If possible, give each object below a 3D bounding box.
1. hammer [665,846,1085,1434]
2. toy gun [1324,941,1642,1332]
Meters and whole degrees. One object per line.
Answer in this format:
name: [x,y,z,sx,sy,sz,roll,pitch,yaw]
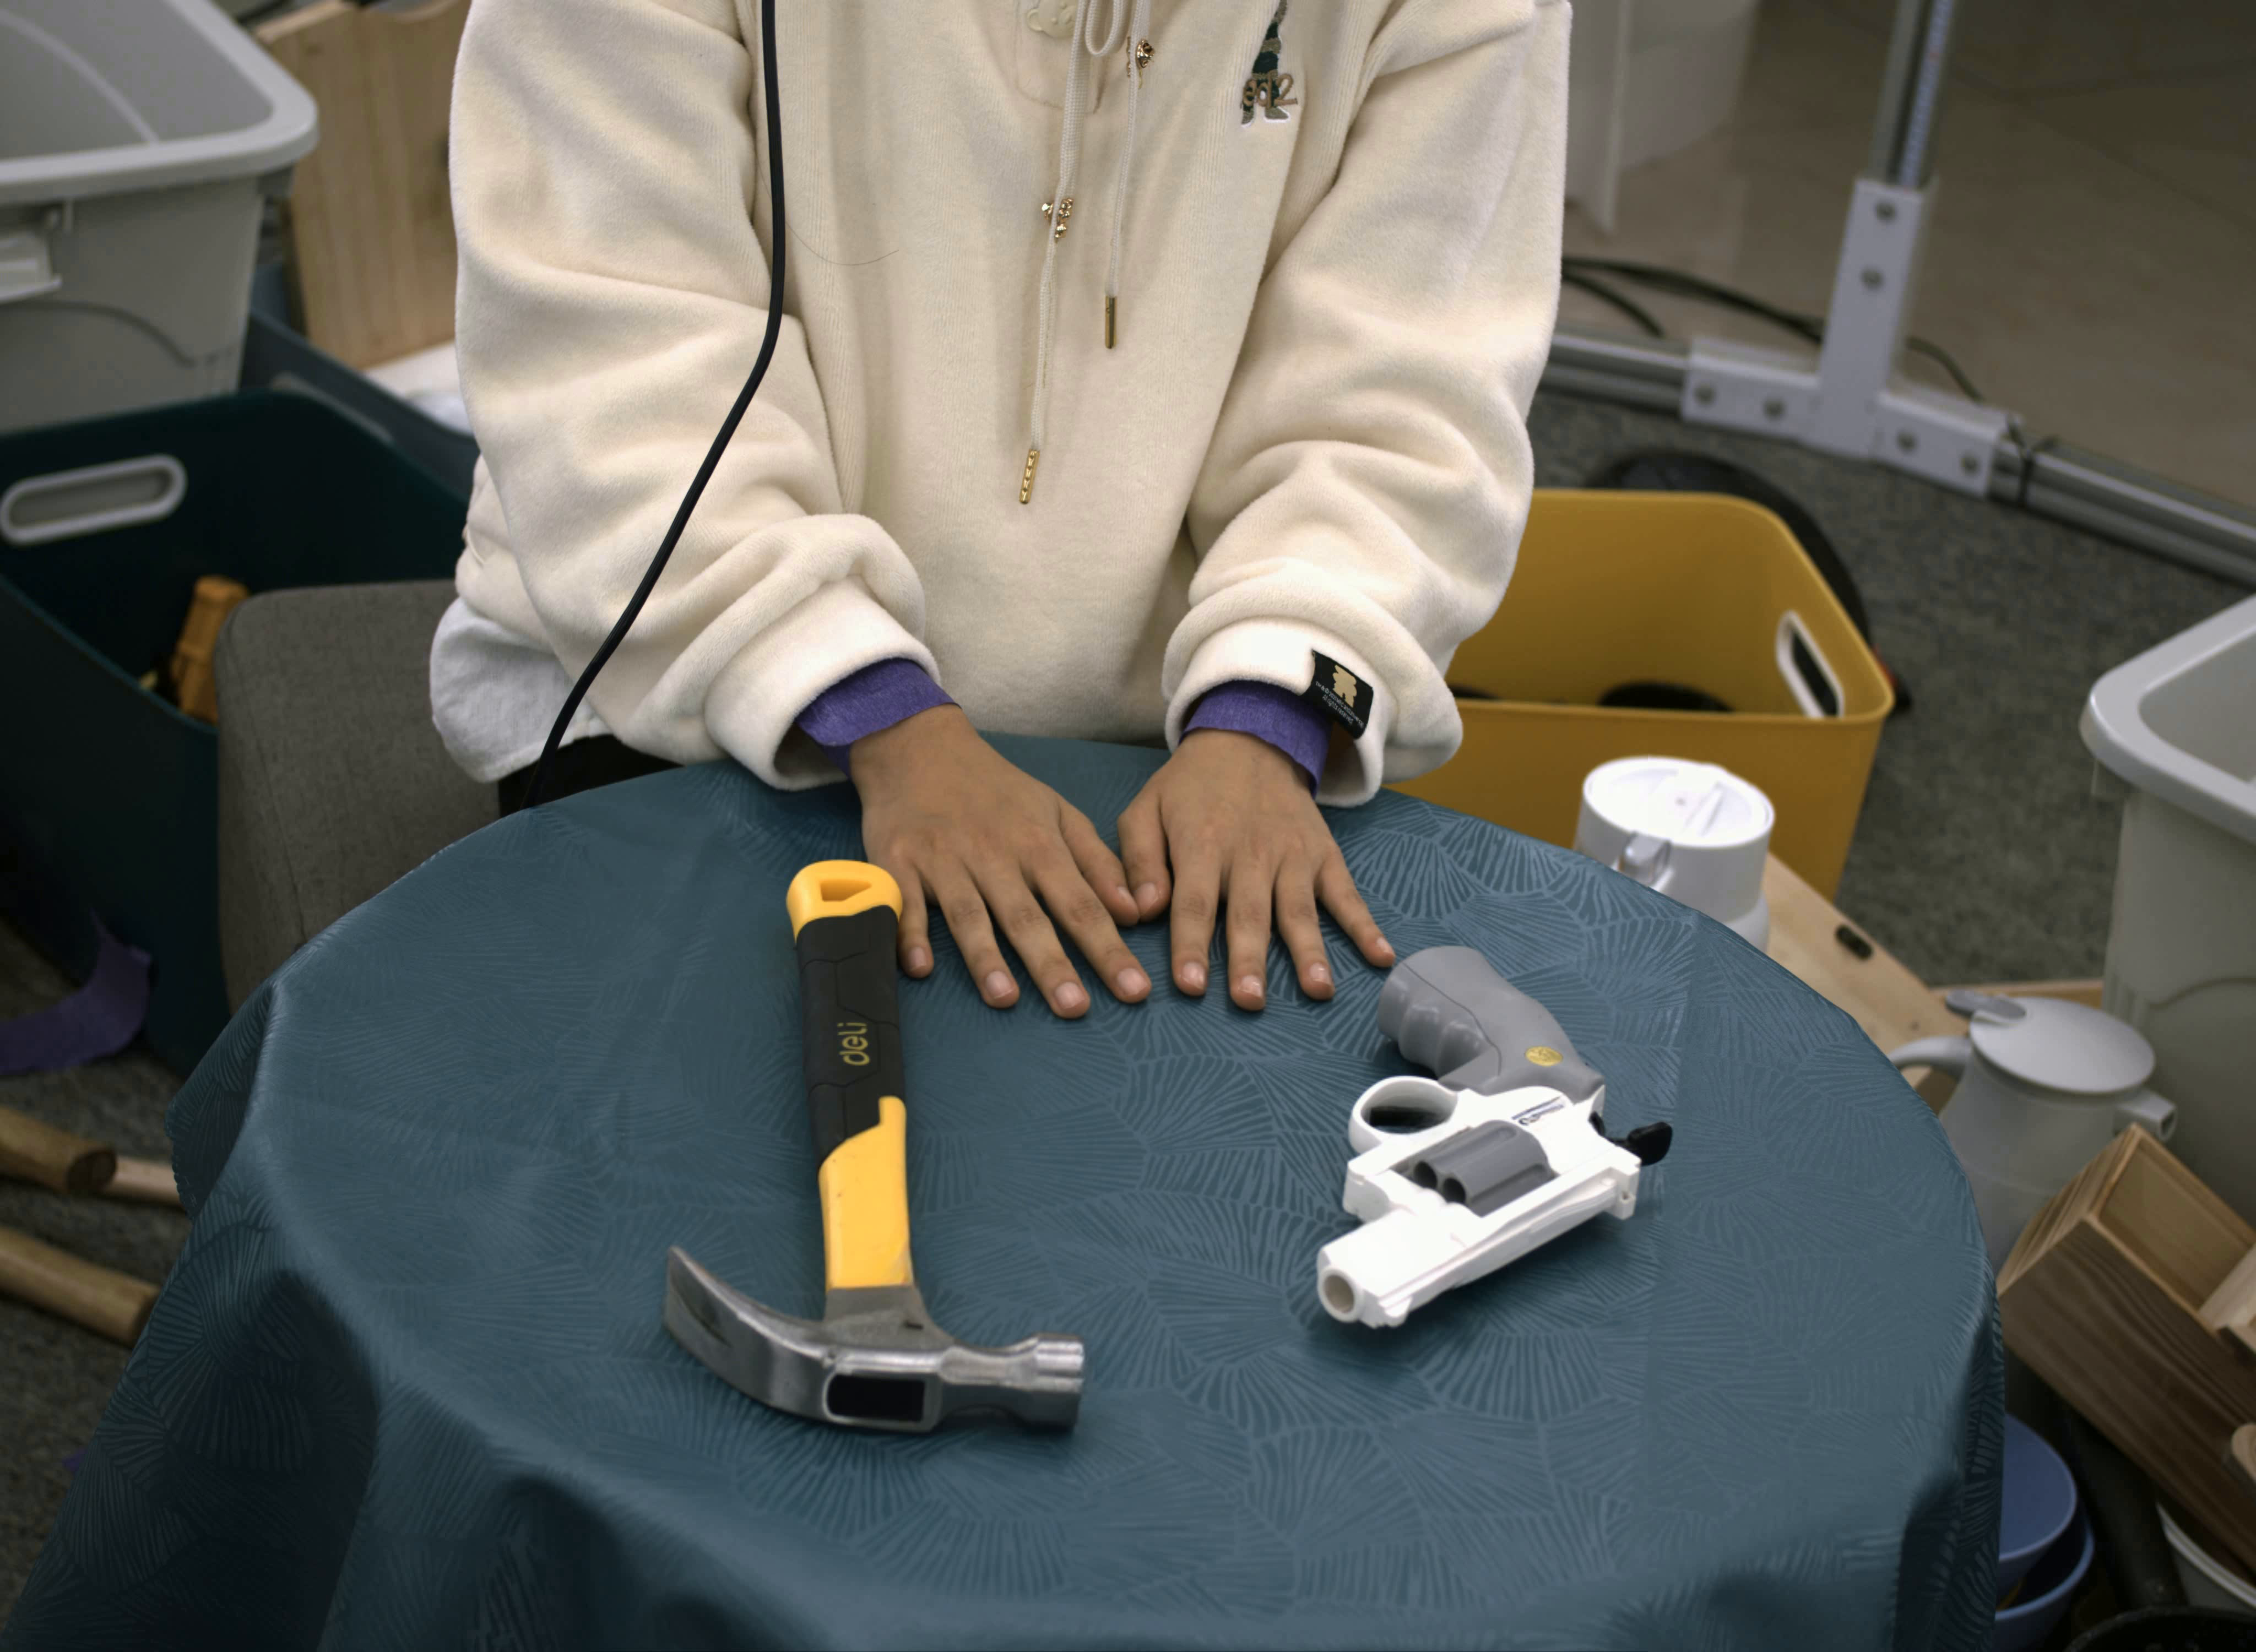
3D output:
hammer: [-0.090,0.097,1.794,0.131,0.032,0.341,1,28,-5]
toy gun: [0.103,0.105,1.818,0.142,0.038,0.208,27,33,33]
